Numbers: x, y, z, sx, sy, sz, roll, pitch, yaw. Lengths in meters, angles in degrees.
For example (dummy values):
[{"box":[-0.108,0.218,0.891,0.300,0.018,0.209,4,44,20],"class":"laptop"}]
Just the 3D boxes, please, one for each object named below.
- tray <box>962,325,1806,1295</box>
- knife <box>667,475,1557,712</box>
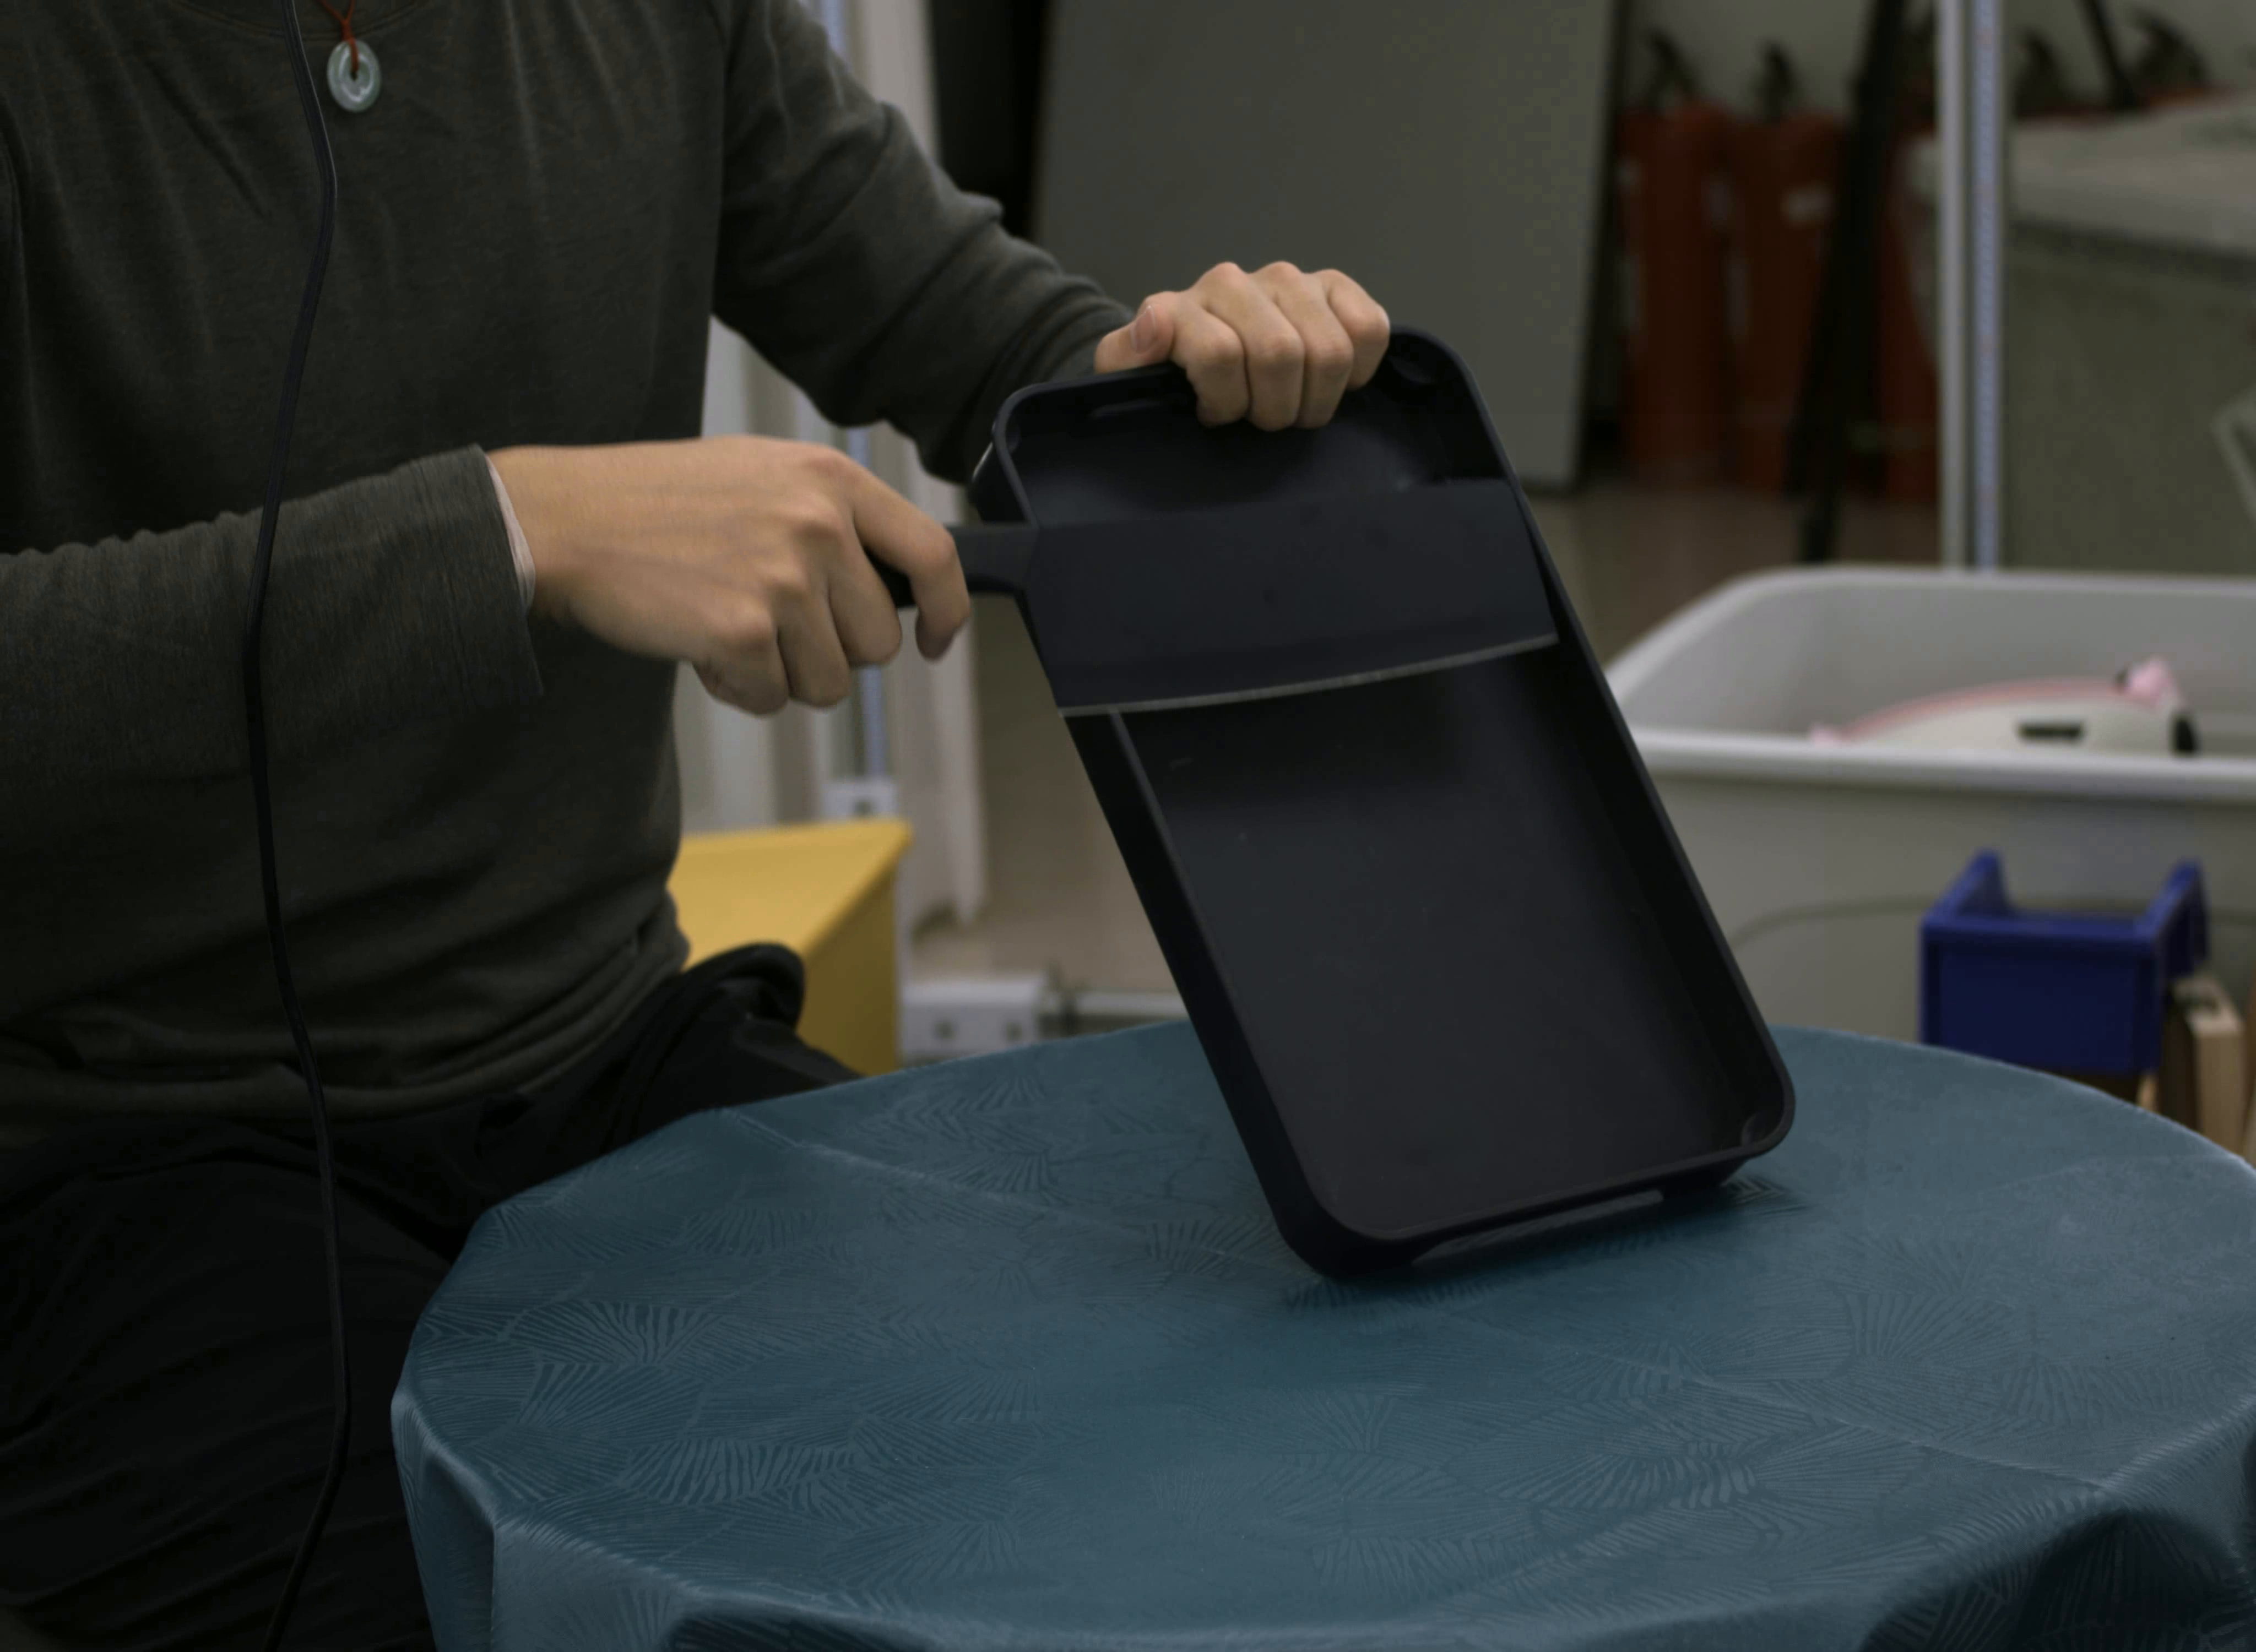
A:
[{"box":[0.080,-0.010,1.747,0.180,0.322,0.037,-13,-24,-28],"class":"tray"},{"box":[-0.003,-0.072,1.726,0.296,0.082,0.021,-3,-24,-18],"class":"knife"}]
